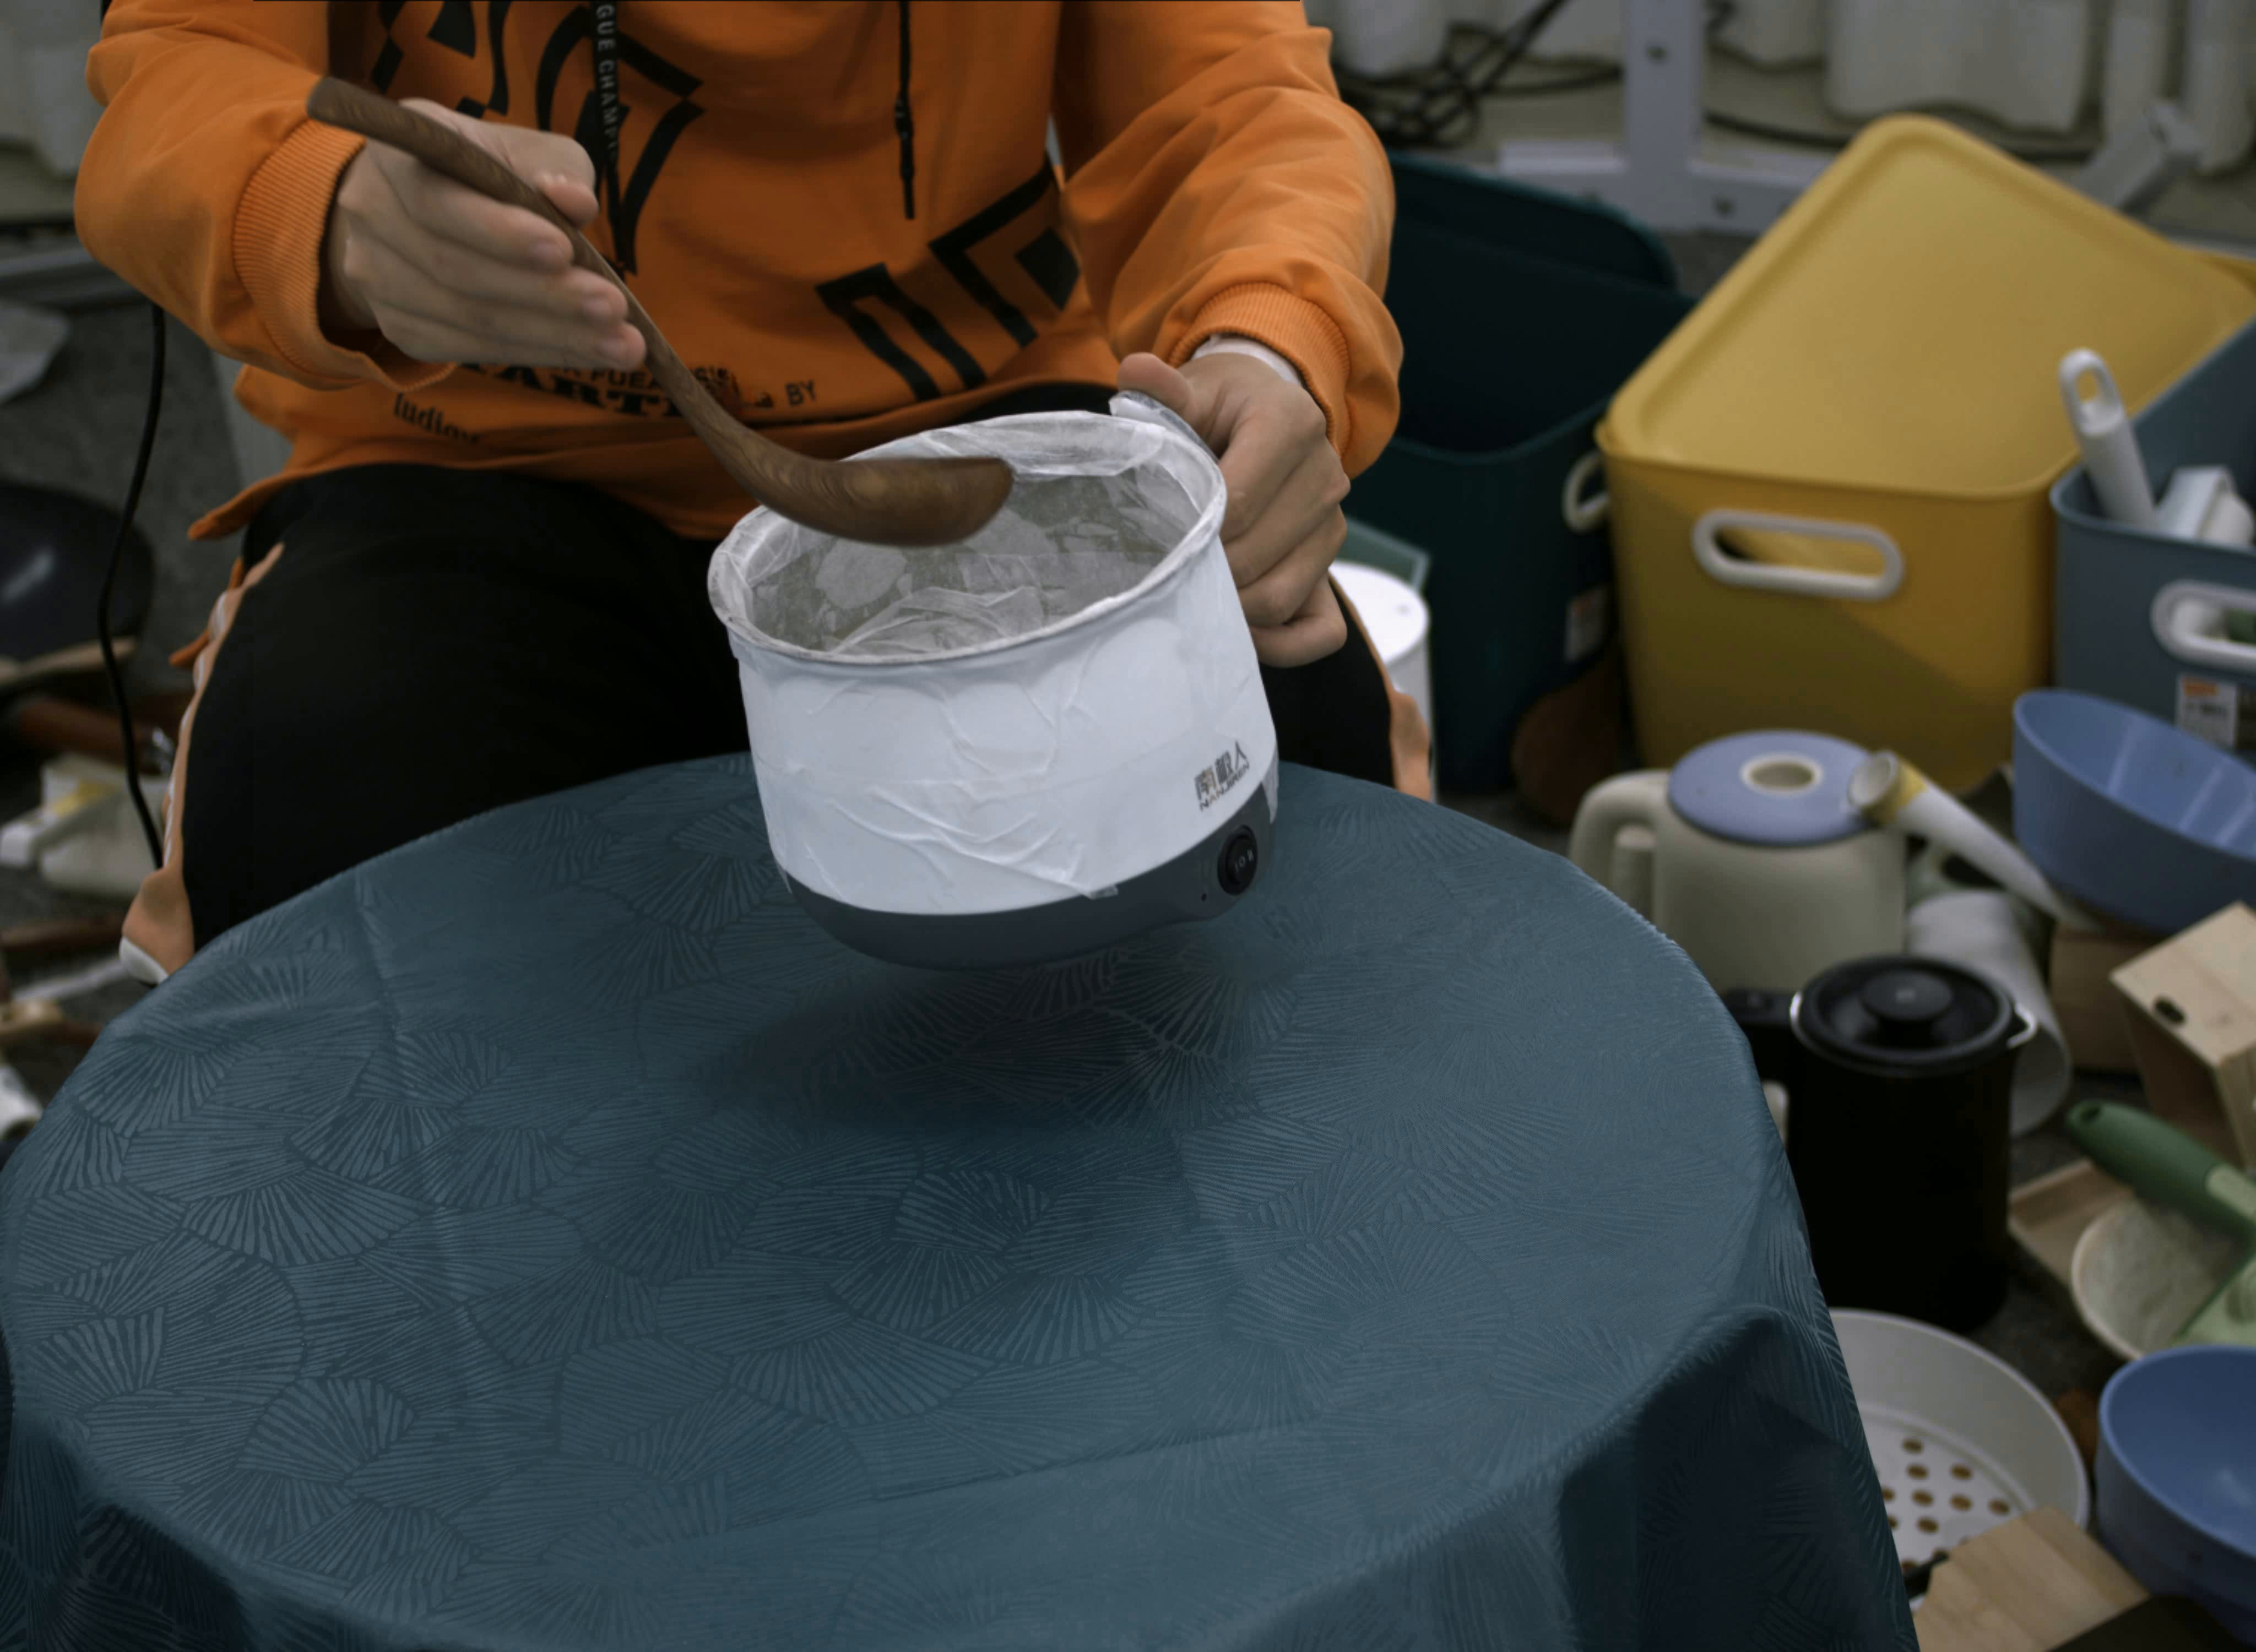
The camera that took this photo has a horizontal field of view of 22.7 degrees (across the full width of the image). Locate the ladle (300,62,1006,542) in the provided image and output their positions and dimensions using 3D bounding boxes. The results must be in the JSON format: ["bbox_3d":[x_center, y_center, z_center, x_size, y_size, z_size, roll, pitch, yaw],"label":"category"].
[{"bbox_3d":[-0.149,-0.174,1.803,0.066,0.259,0.076,-53,17,-14],"label":"ladle"}]

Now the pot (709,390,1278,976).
[{"bbox_3d":[-0.028,-0.056,1.923,0.177,0.135,0.238,9,34,32],"label":"pot"}]
